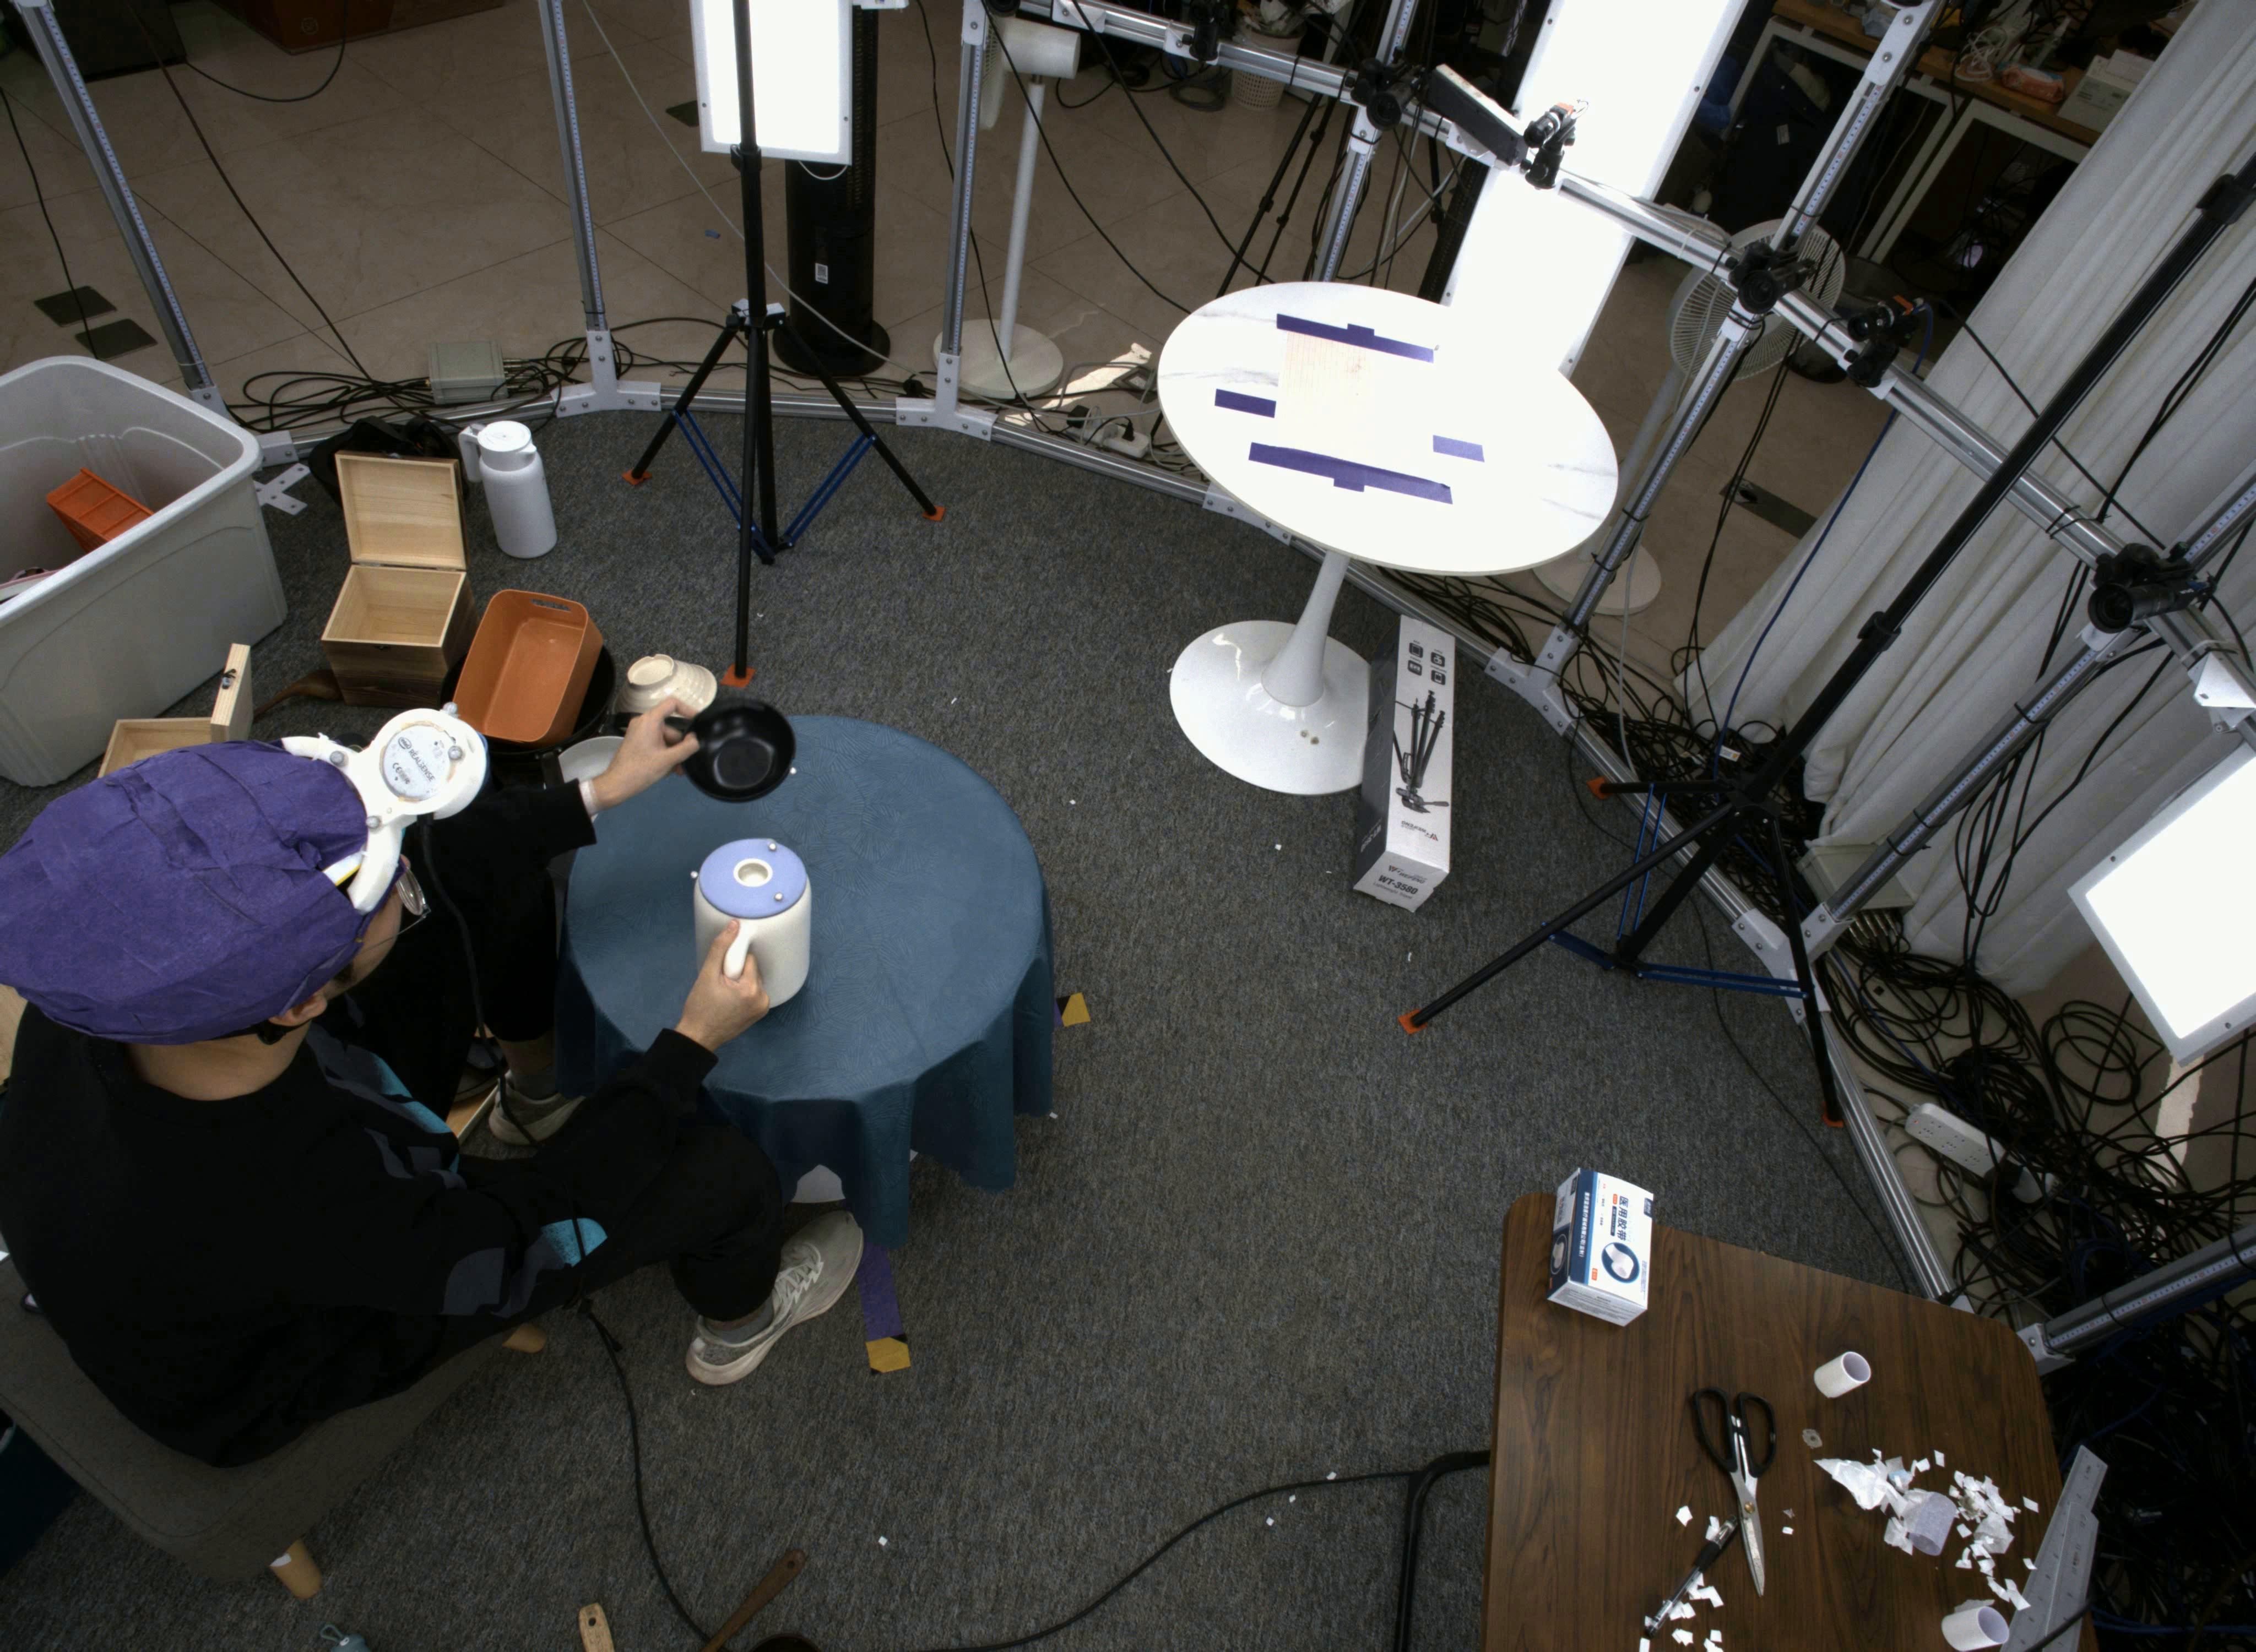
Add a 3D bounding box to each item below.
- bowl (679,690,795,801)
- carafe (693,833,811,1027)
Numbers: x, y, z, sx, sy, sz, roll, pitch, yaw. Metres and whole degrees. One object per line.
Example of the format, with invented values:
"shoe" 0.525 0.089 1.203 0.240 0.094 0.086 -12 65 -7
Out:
"bowl" -0.471 -0.092 1.570 0.139 0.050 0.139 2 73 -6
"carafe" -0.436 0.130 1.491 0.132 0.187 0.187 6 47 -8
